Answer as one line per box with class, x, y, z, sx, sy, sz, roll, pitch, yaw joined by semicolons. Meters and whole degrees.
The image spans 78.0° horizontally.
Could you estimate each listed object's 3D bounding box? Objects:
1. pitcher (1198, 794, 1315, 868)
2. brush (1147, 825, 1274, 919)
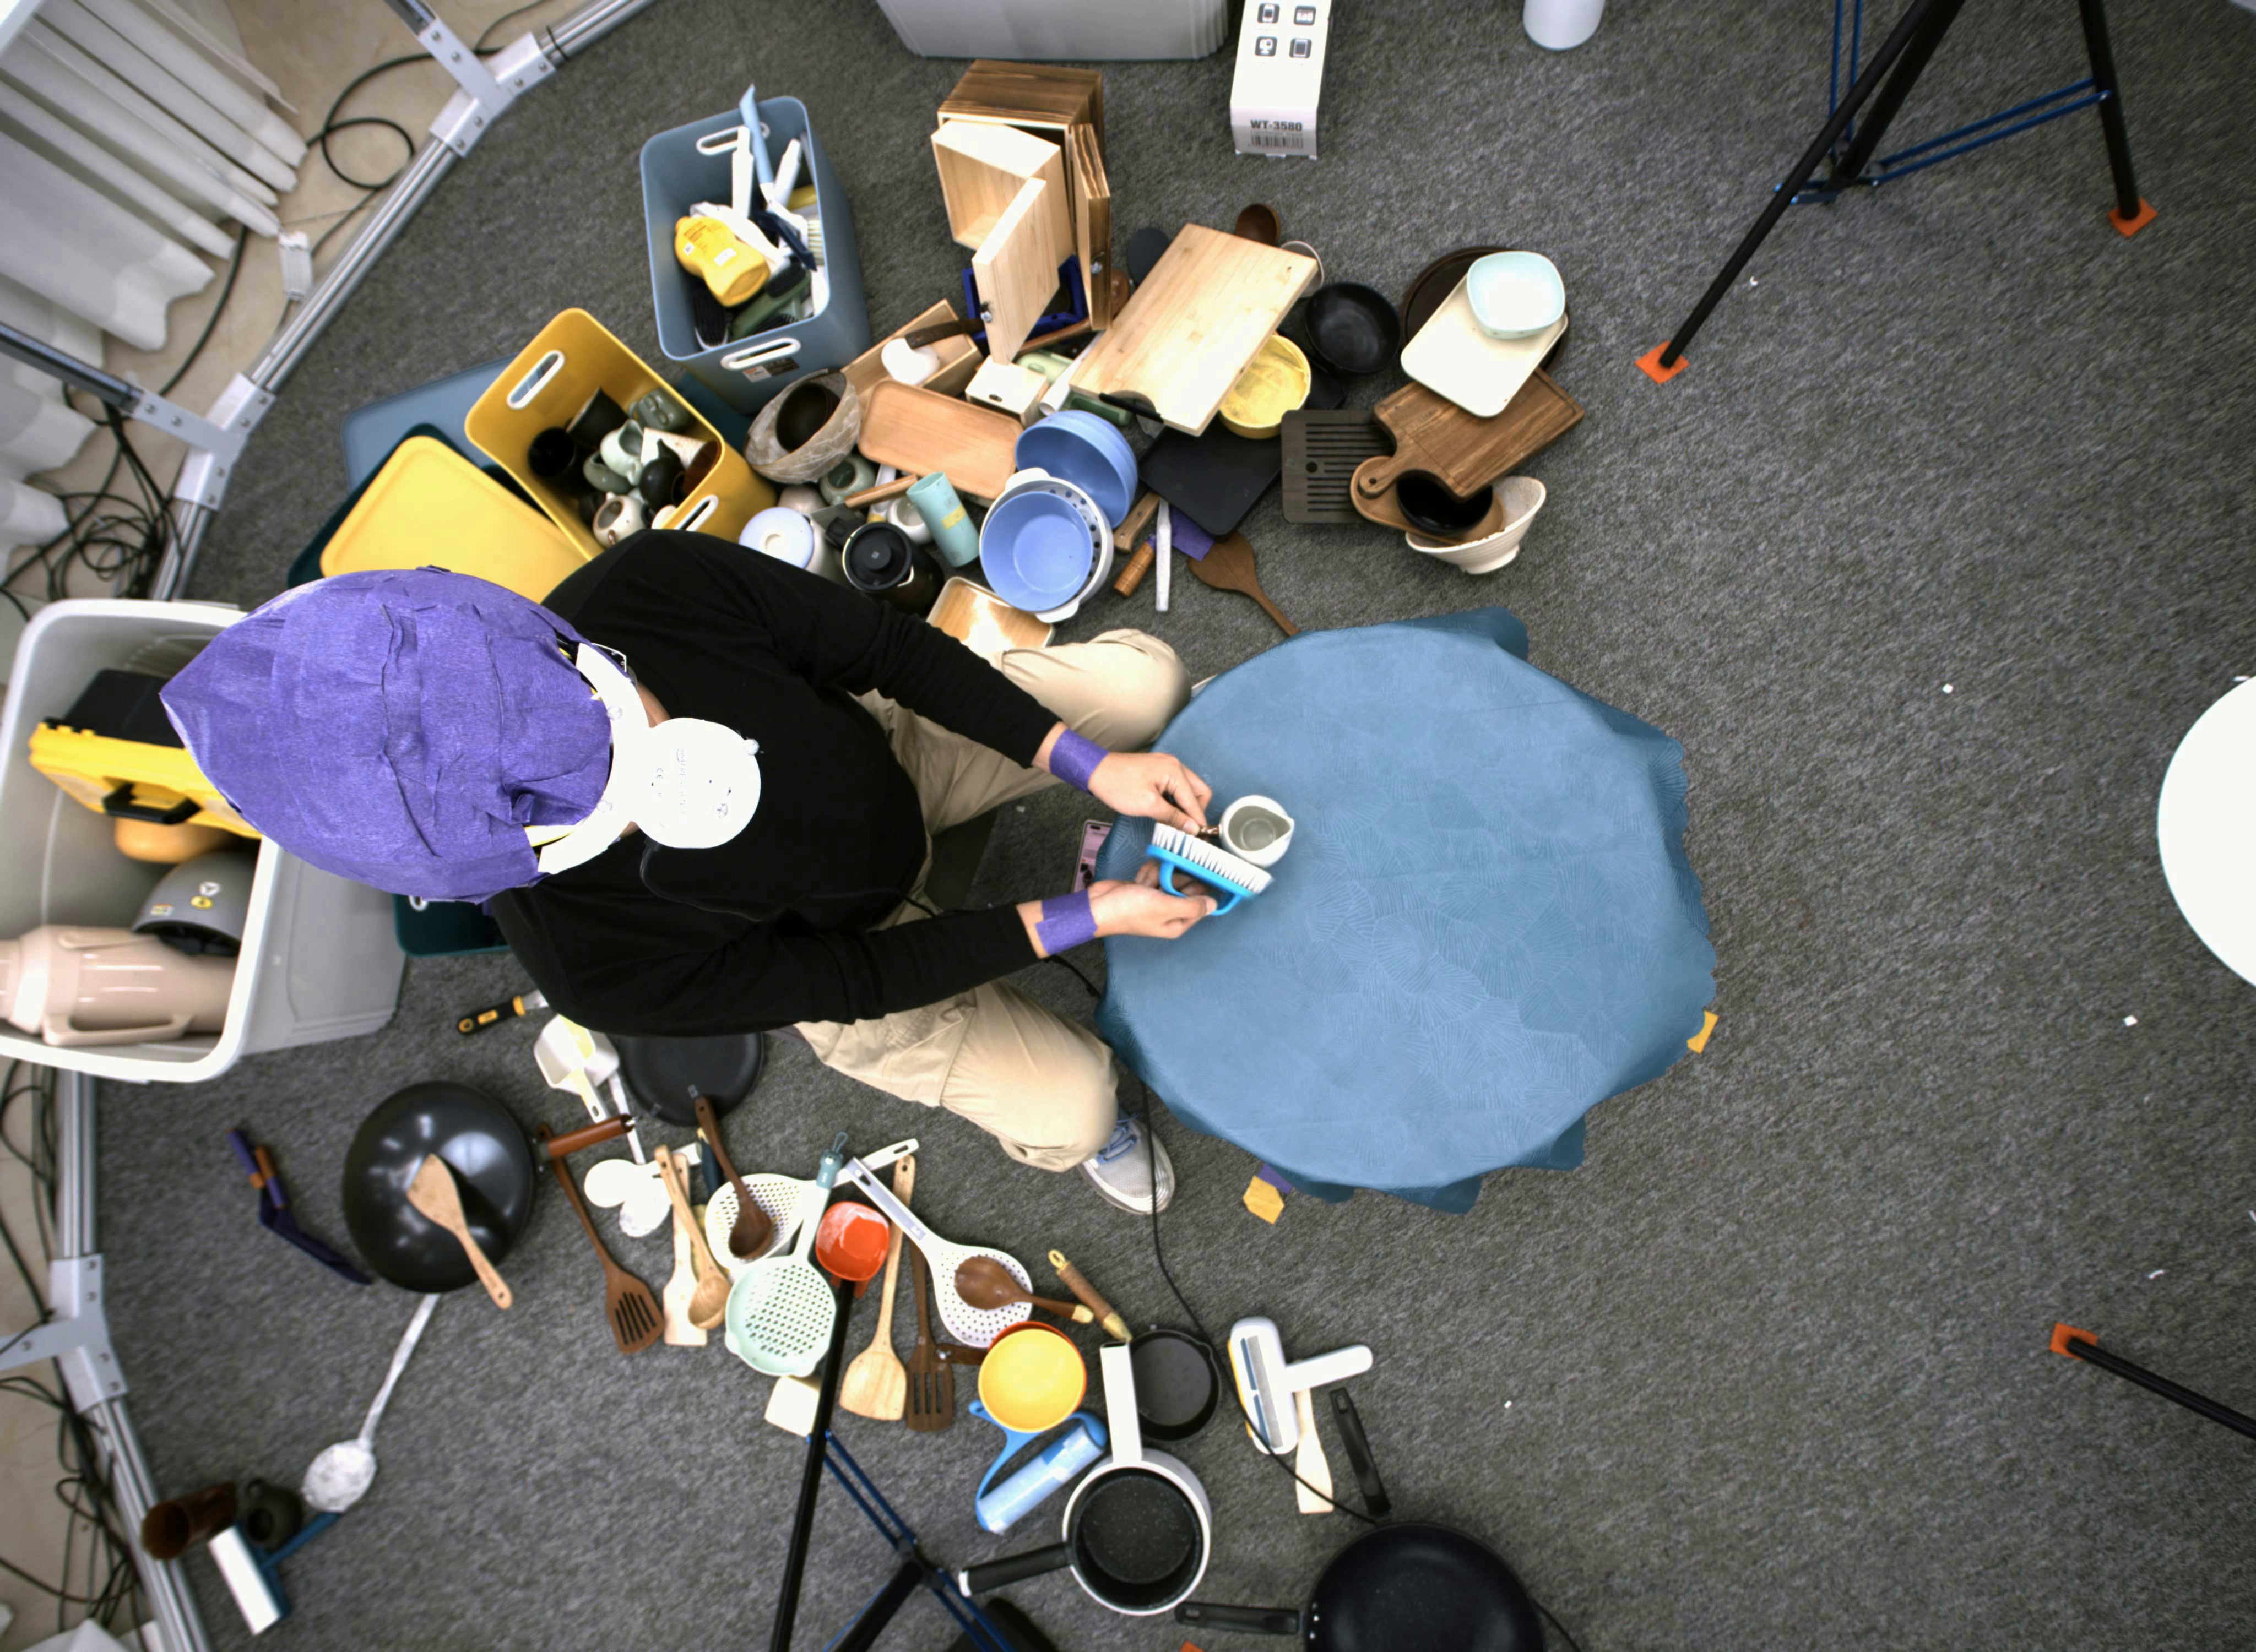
pitcher;0.133;0.006;1.443;0.119;0.088;0.075;2;80;6
brush;0.077;0.054;1.427;0.142;0.084;0.064;27;90;-27
